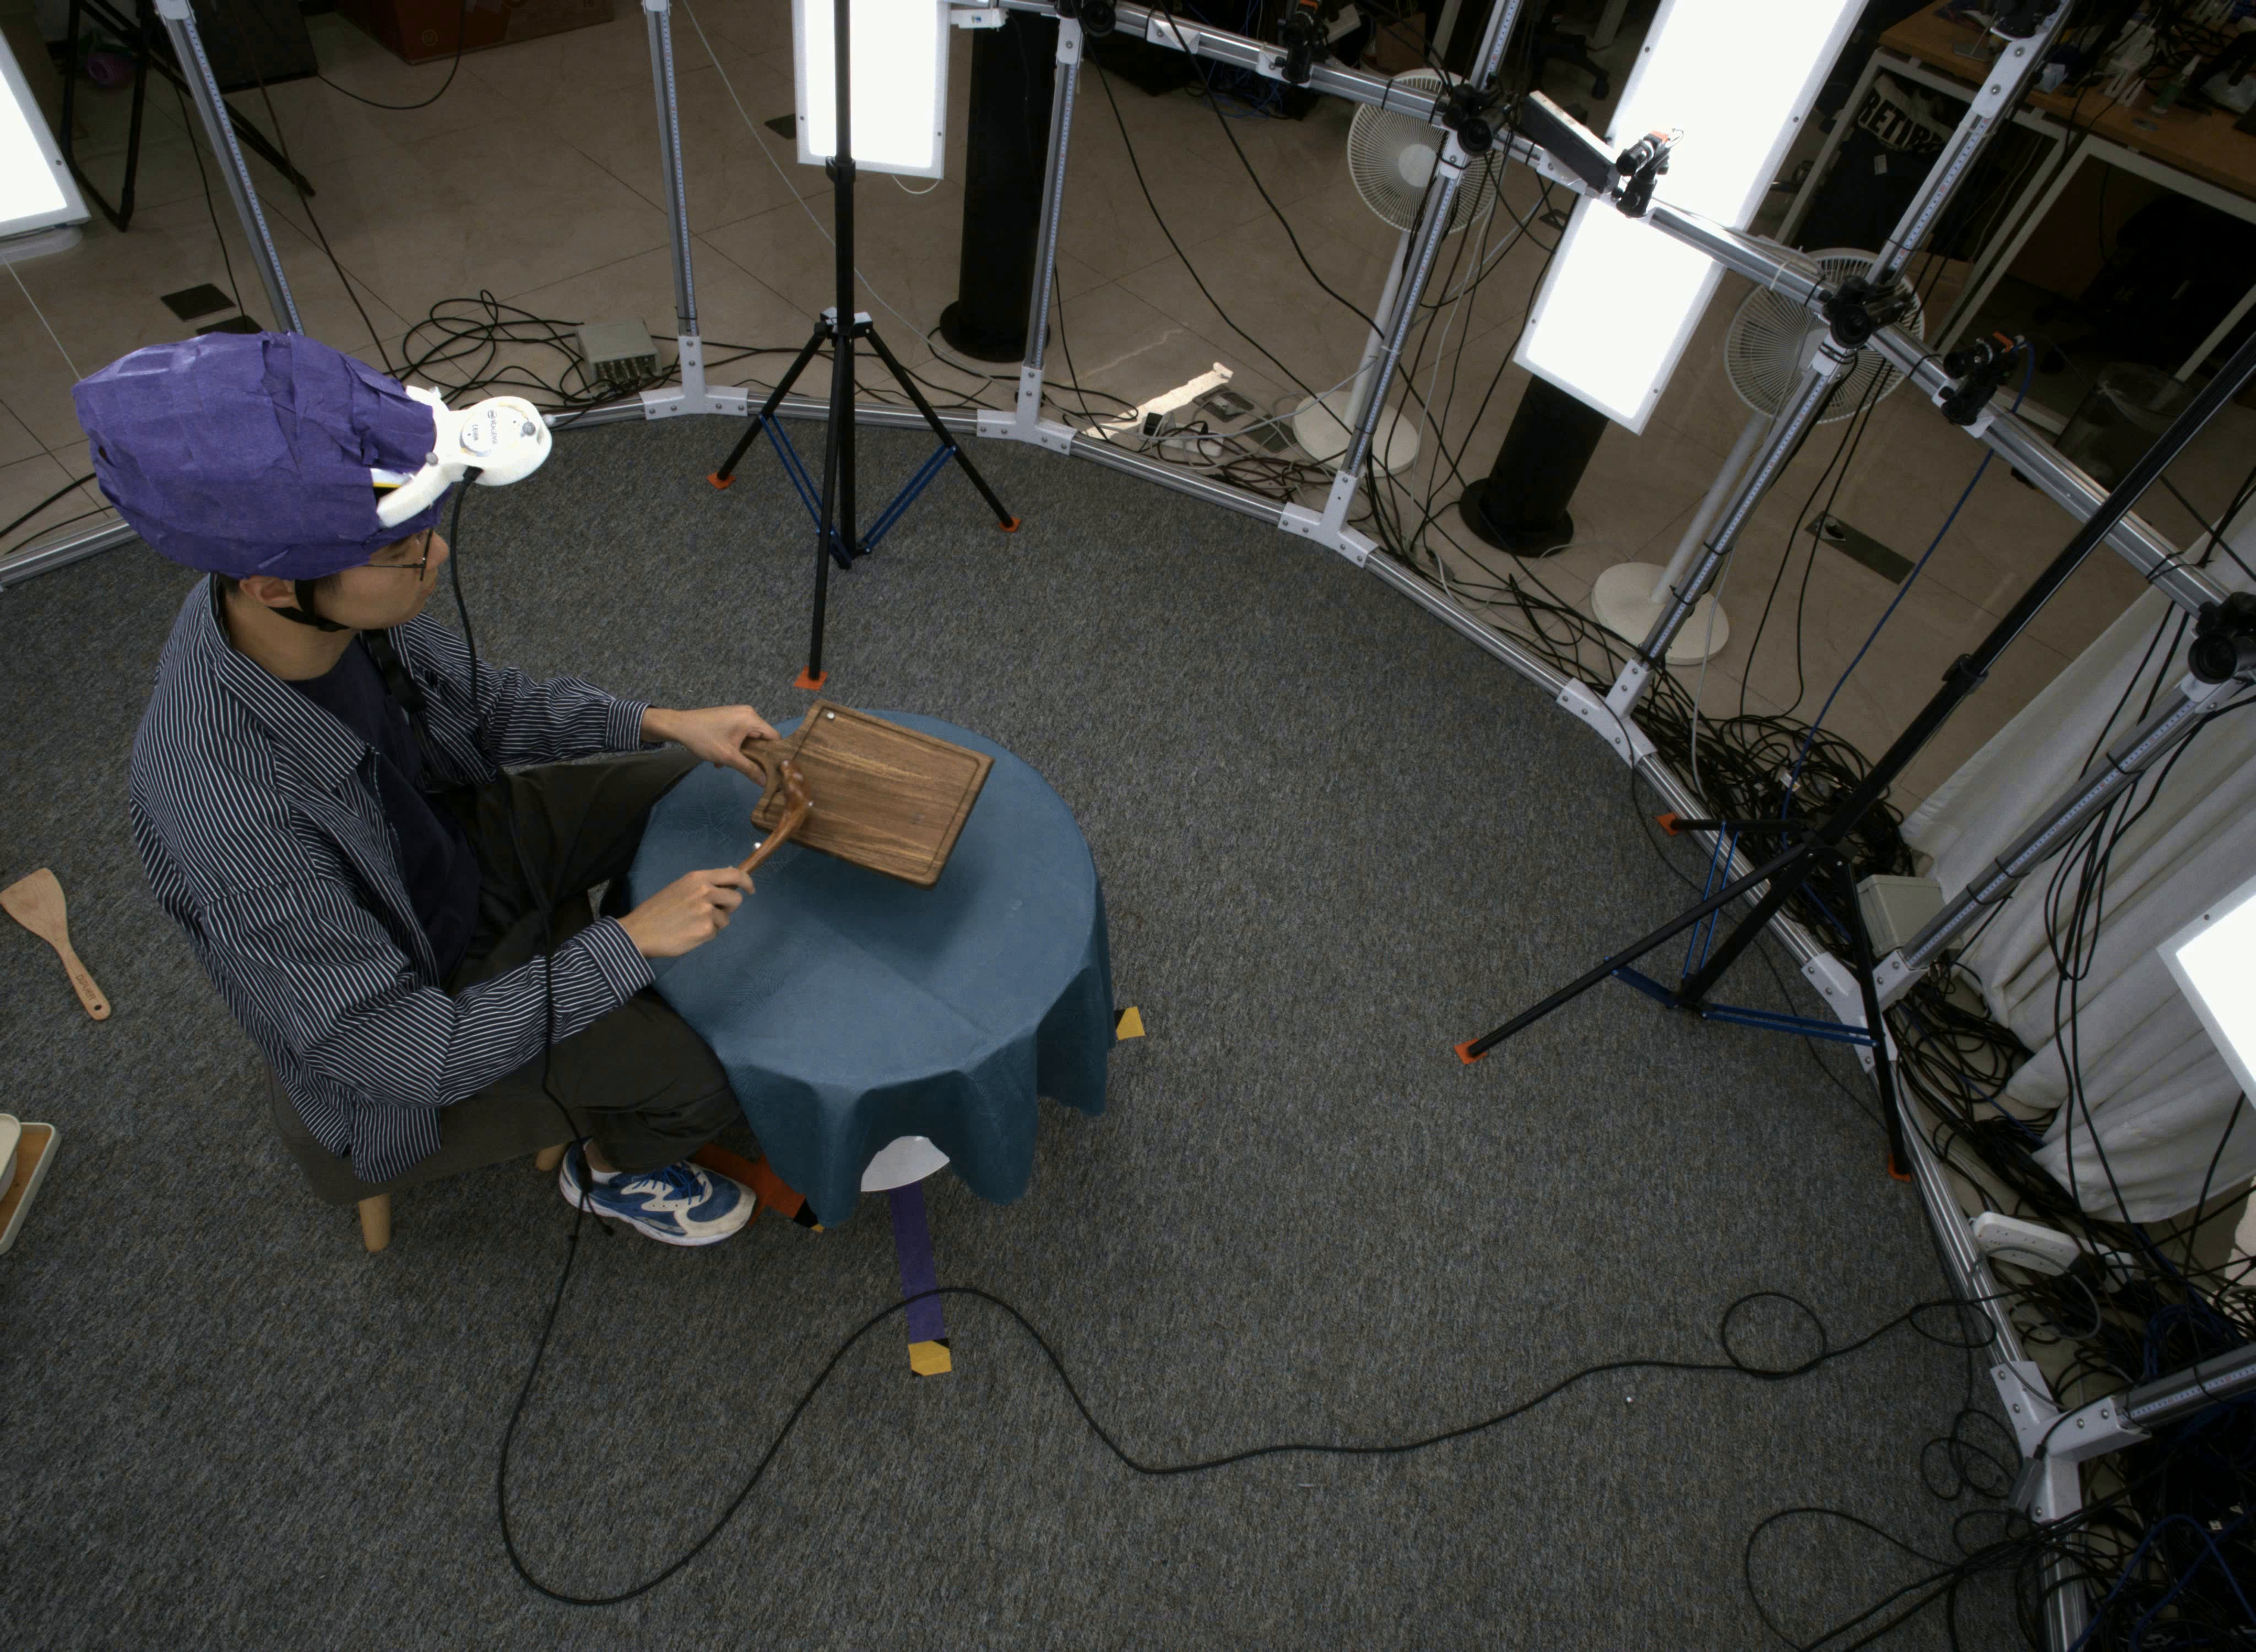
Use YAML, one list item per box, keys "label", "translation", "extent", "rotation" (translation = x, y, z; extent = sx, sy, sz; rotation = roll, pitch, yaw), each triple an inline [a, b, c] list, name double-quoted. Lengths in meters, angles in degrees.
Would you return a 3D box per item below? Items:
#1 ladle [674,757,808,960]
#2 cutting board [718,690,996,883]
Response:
- label: "ladle"
  translation: [-0.468, 0.030, 1.527]
  extent: [0.075, 0.084, 0.273]
  rotation: [26, 60, 16]
- label: "cutting board"
  translation: [-0.363, -0.070, 1.655]
  extent: [0.347, 0.023, 0.200]
  rotation: [20, 65, 5]
